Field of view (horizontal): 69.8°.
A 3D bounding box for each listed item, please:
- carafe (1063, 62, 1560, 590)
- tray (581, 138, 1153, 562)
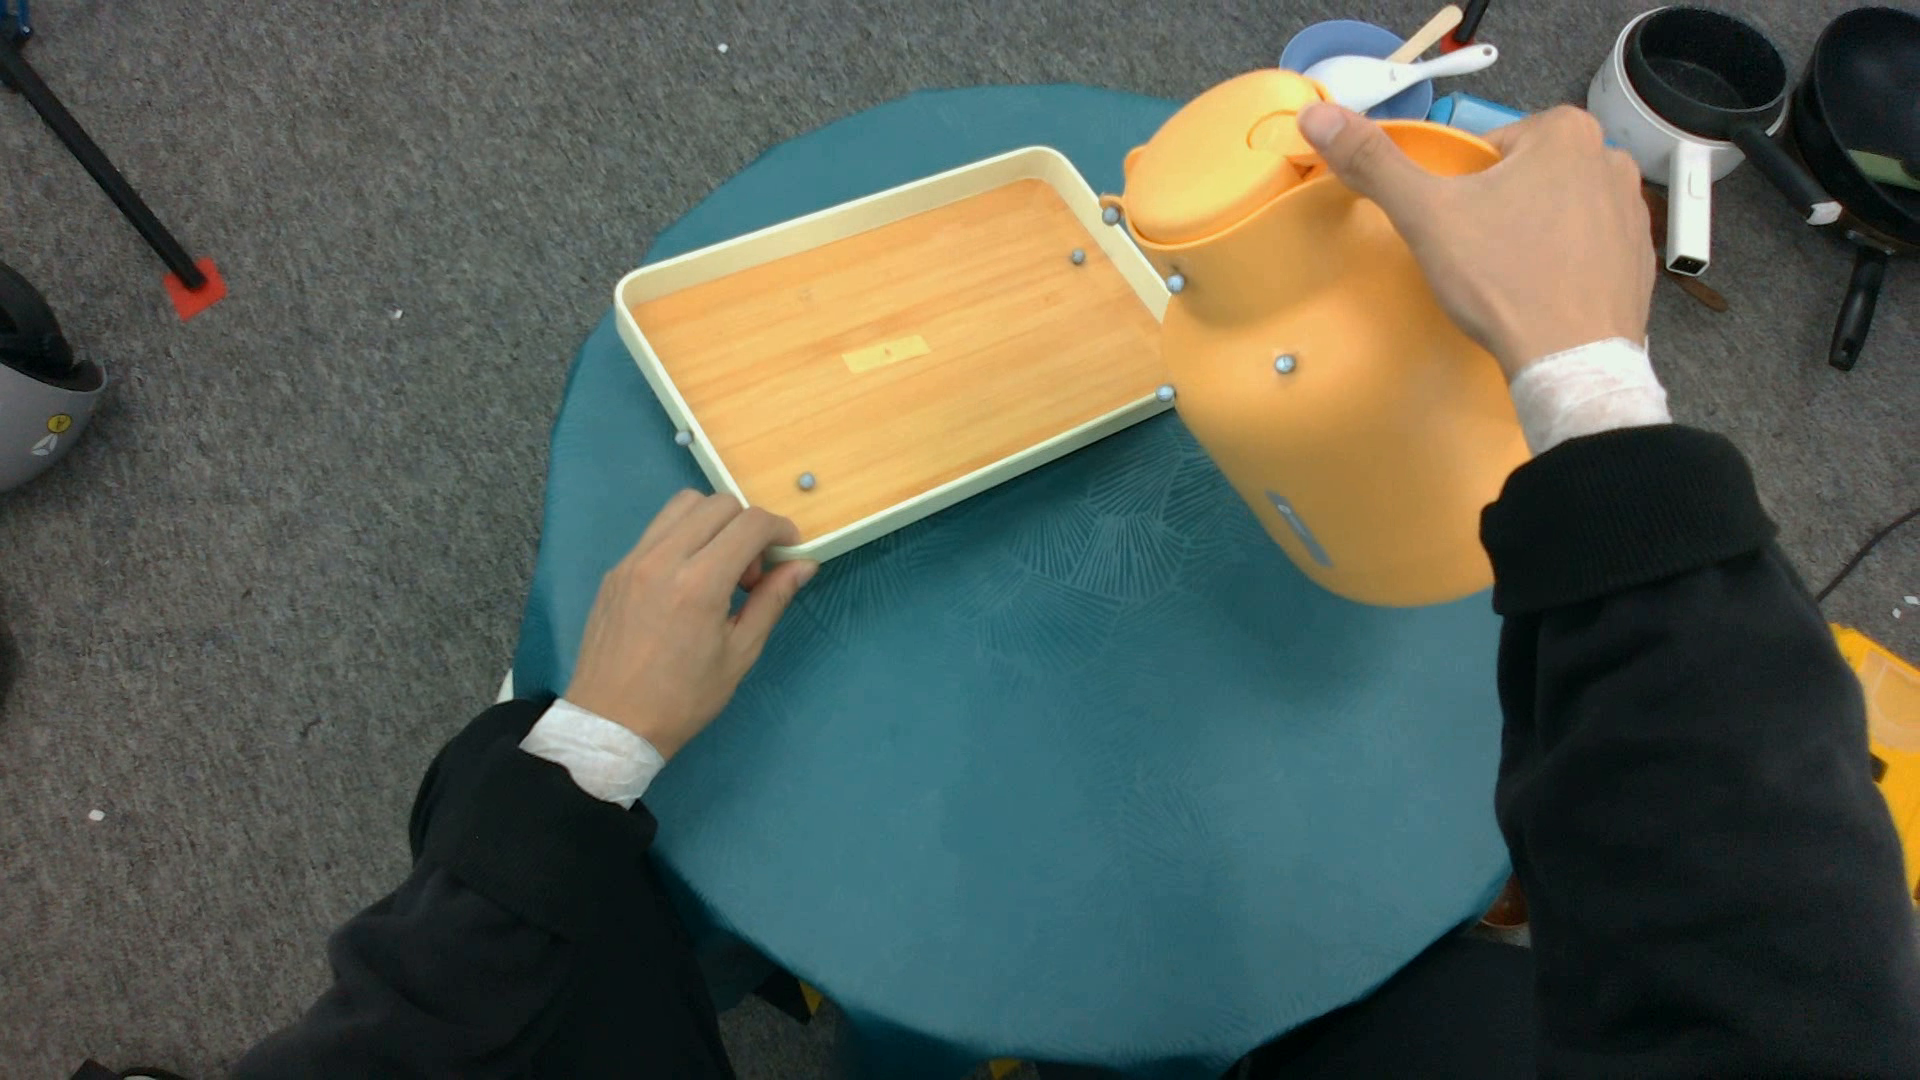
[{"bbox_3d":[0.175,-0.096,0.632,0.260,0.202,0.164,42,71,-37],"label":"carafe"},{"bbox_3d":[-0.036,-0.118,0.770,0.301,0.027,0.192,-25,69,-27],"label":"tray"}]
